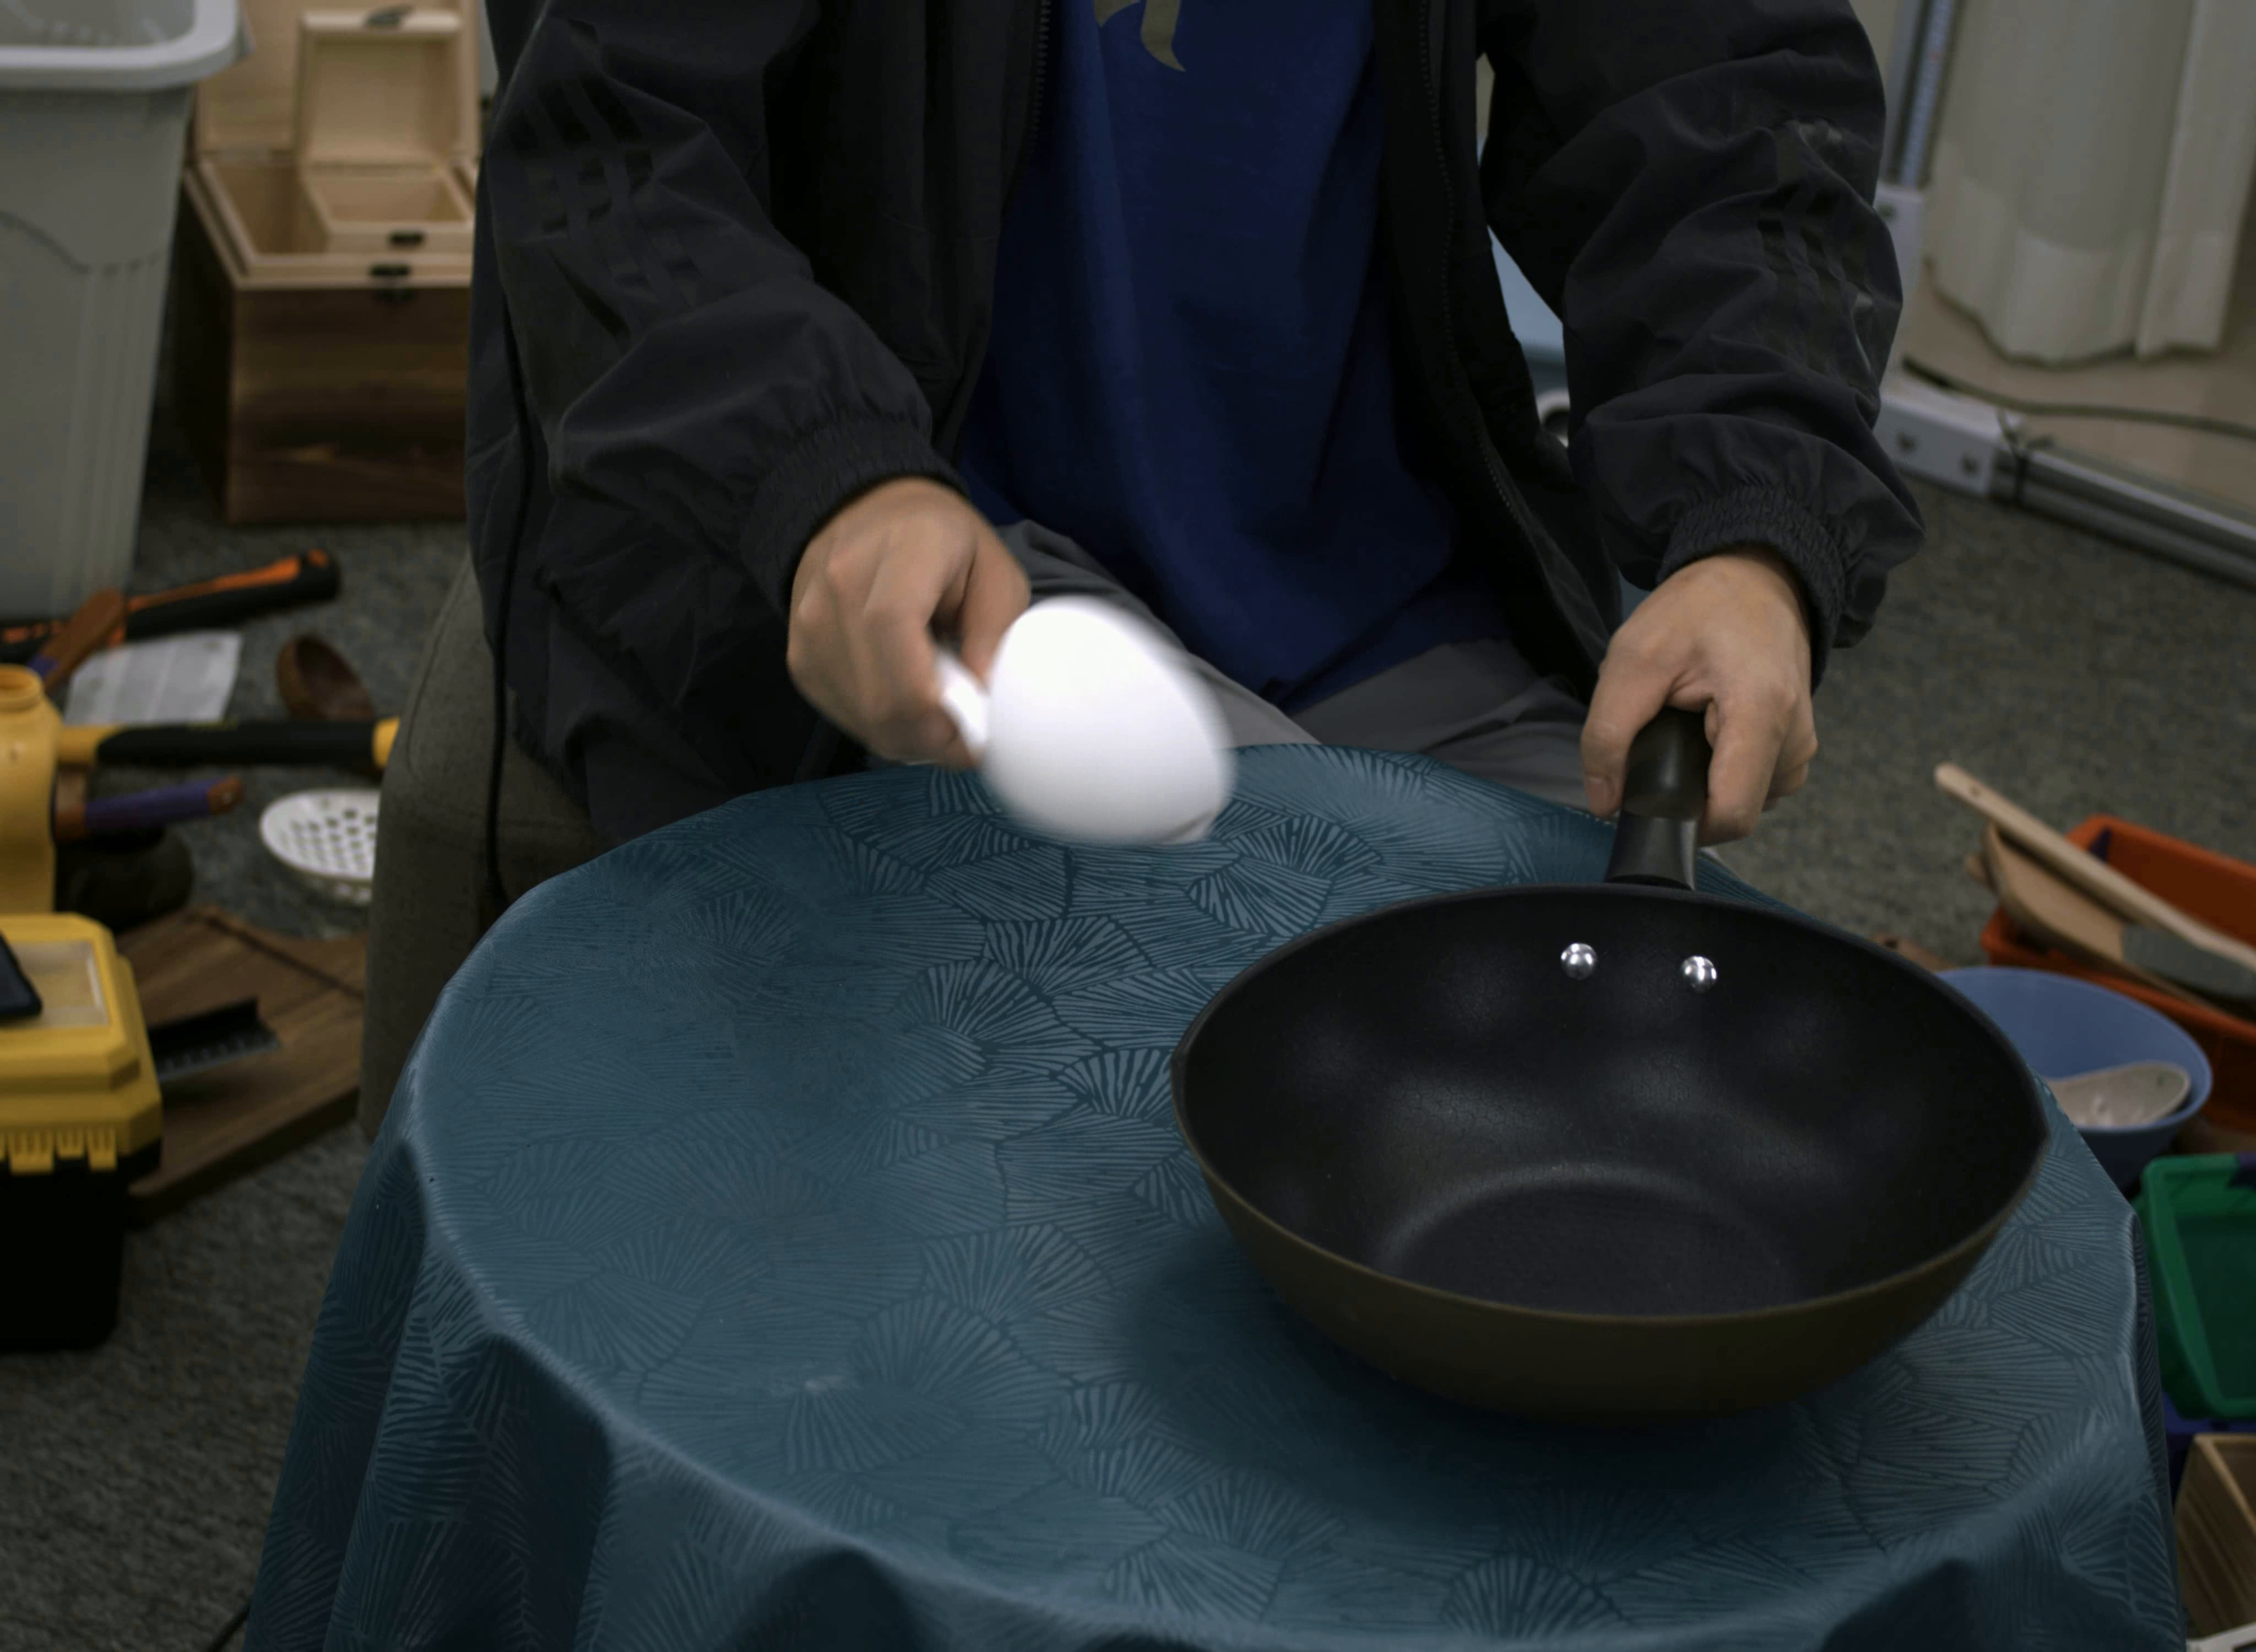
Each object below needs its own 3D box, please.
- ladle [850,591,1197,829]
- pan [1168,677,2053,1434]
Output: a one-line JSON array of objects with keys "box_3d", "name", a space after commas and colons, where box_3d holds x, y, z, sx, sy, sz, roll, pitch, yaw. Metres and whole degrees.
[{"box_3d": [-0.045, -0.044, 1.797, 0.070, 0.090, 0.294, -43, 12, -4], "name": "ladle"}, {"box_3d": [0.170, 0.079, 1.821, 0.288, 0.086, 0.465, 6, 27, 9], "name": "pan"}]
